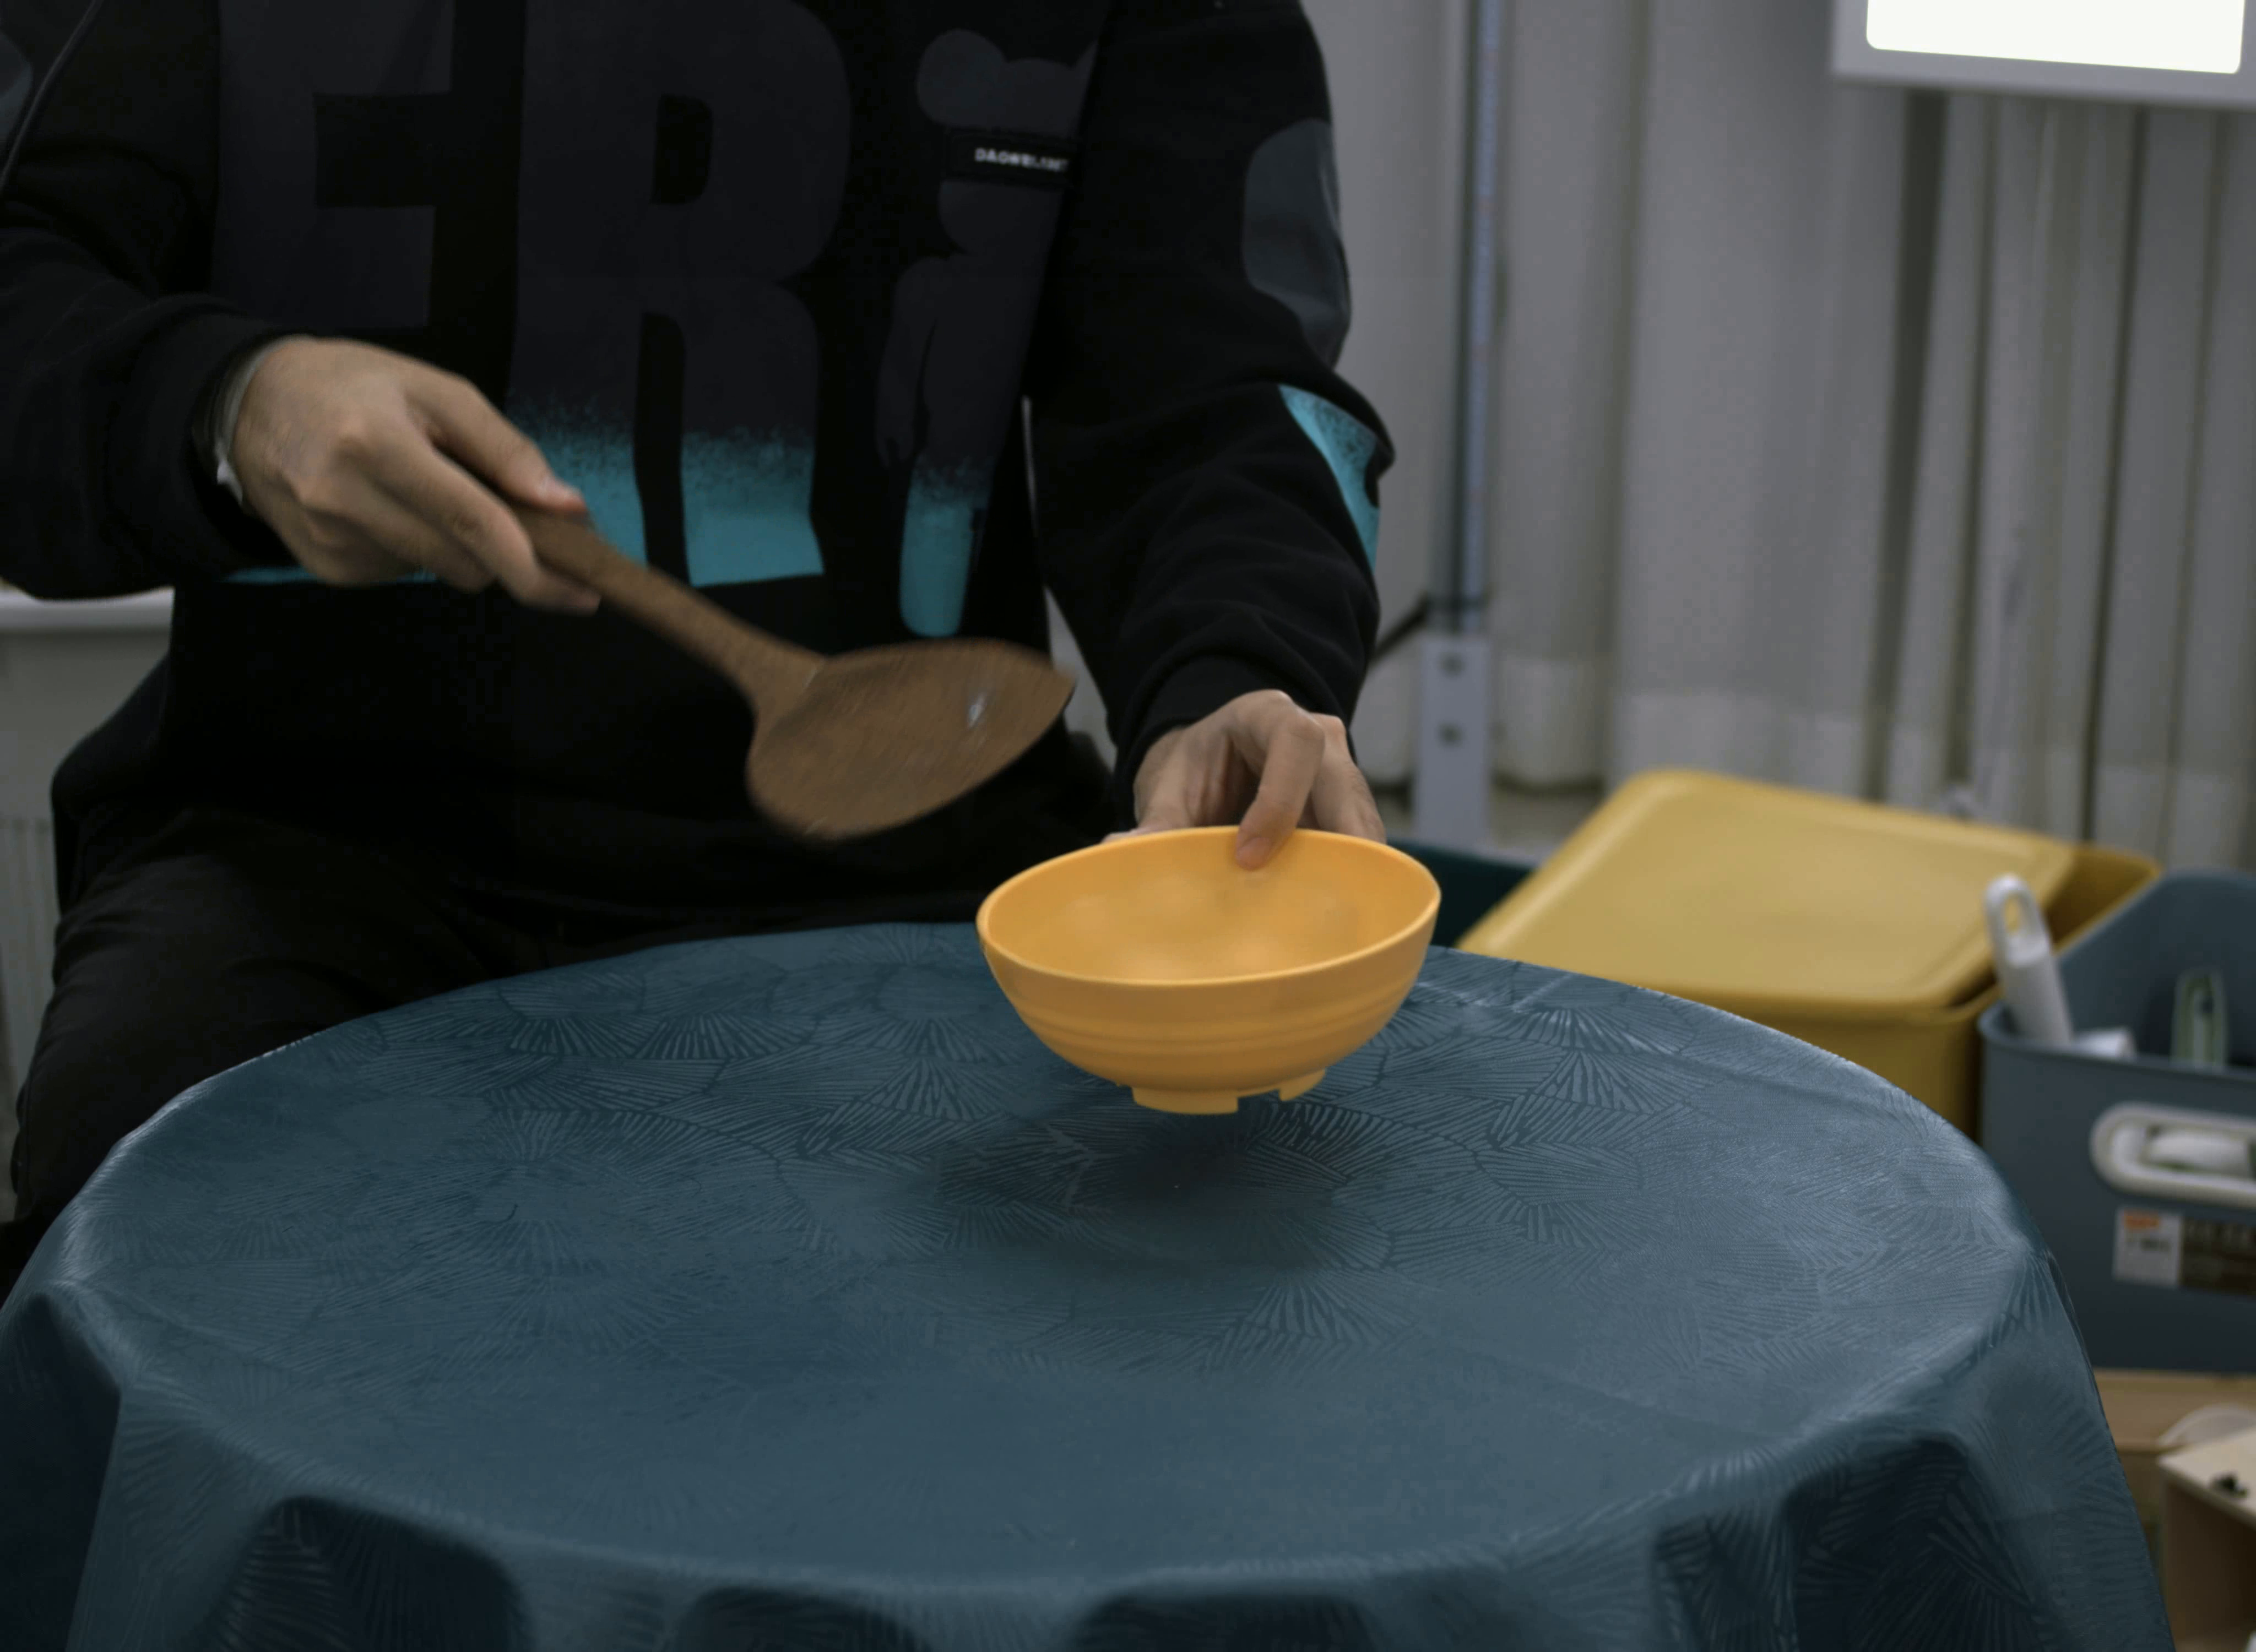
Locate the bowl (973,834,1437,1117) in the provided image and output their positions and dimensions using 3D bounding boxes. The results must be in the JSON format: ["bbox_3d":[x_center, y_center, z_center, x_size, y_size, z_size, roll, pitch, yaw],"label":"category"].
[{"bbox_3d":[0.024,0.052,1.644,0.145,0.060,0.144,0,18,1],"label":"bowl"}]

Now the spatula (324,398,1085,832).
[{"bbox_3d":[-0.153,-0.077,1.655,0.096,0.016,0.380,-36,39,-23],"label":"spatula"}]
